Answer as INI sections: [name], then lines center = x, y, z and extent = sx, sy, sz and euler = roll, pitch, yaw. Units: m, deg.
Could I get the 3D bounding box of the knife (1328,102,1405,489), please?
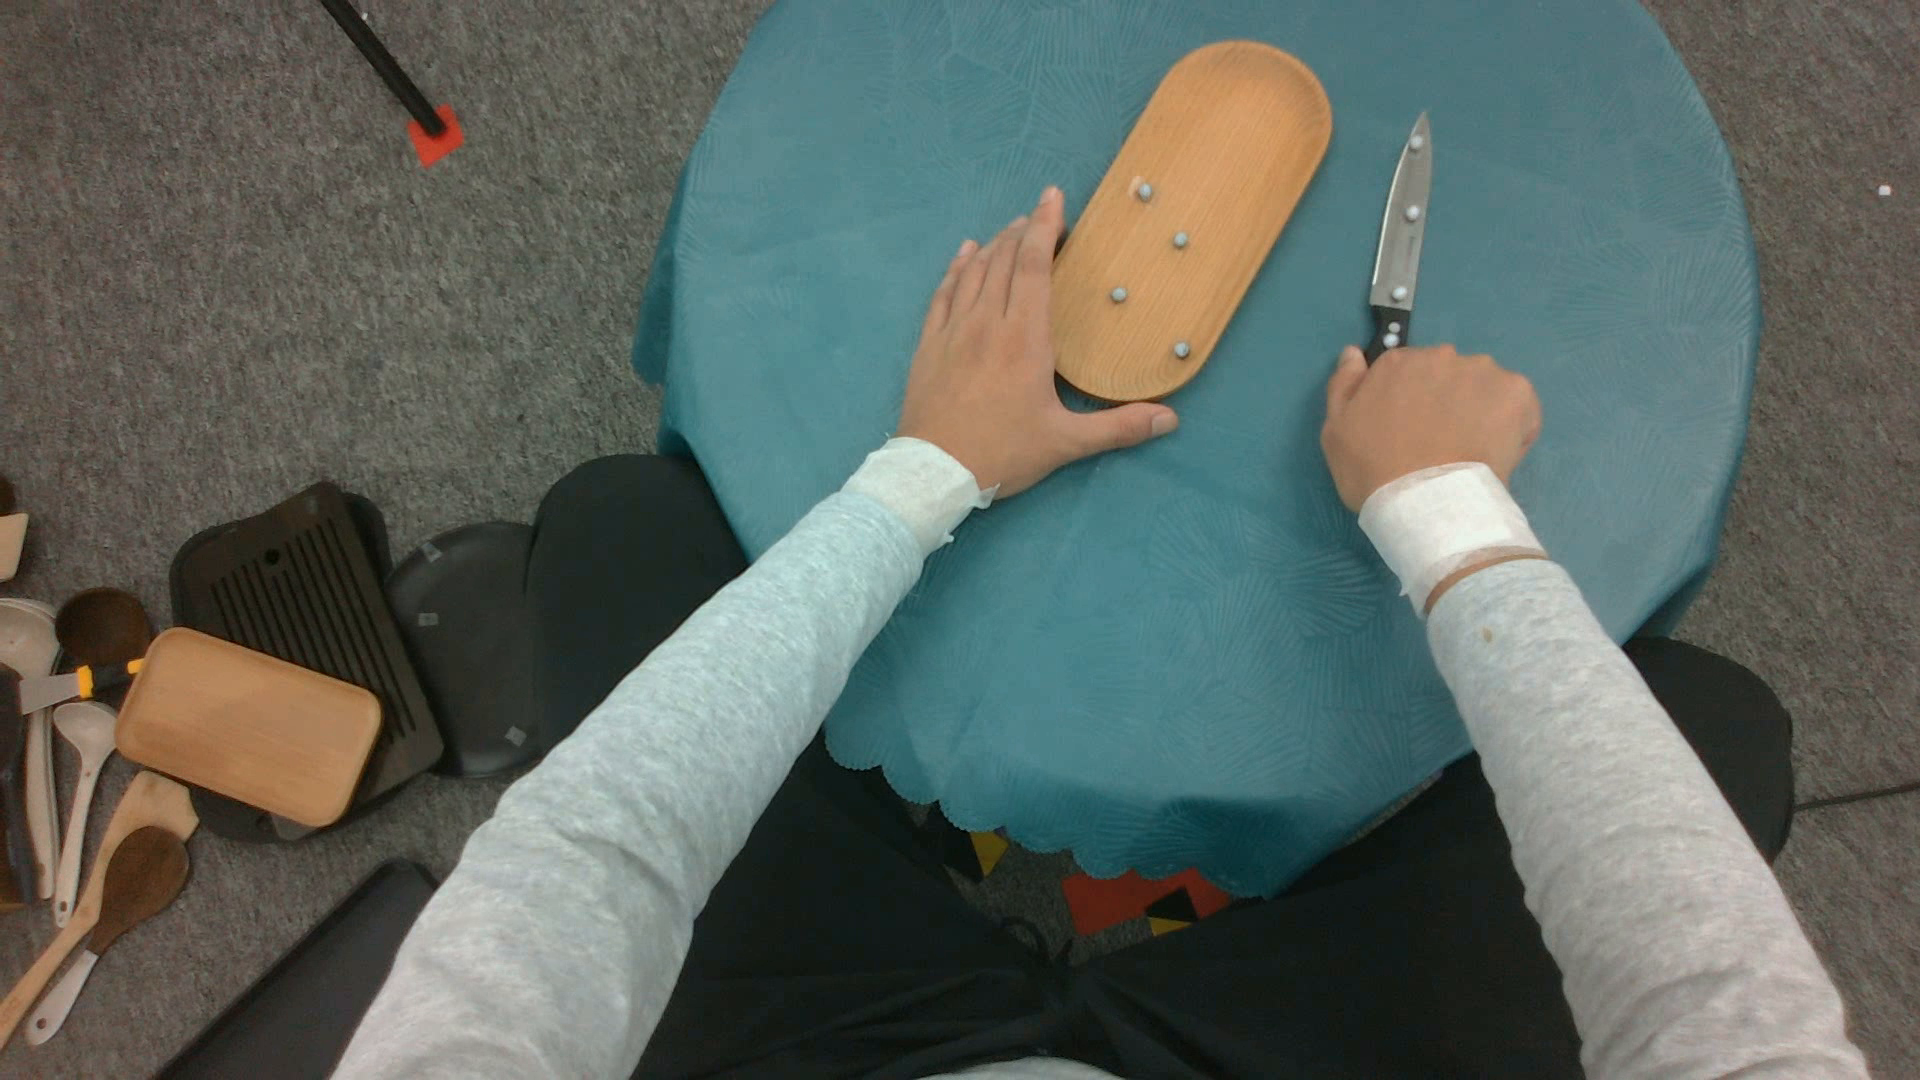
[knife]
center = 0.227, -0.138, 0.754
extent = 0.024, 0.016, 0.239
euler = 10, 73, 8

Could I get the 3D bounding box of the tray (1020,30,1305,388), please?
[tray]
center = 0.114, -0.187, 0.770
extent = 0.101, 0.020, 0.232
euler = 27, 76, 7
